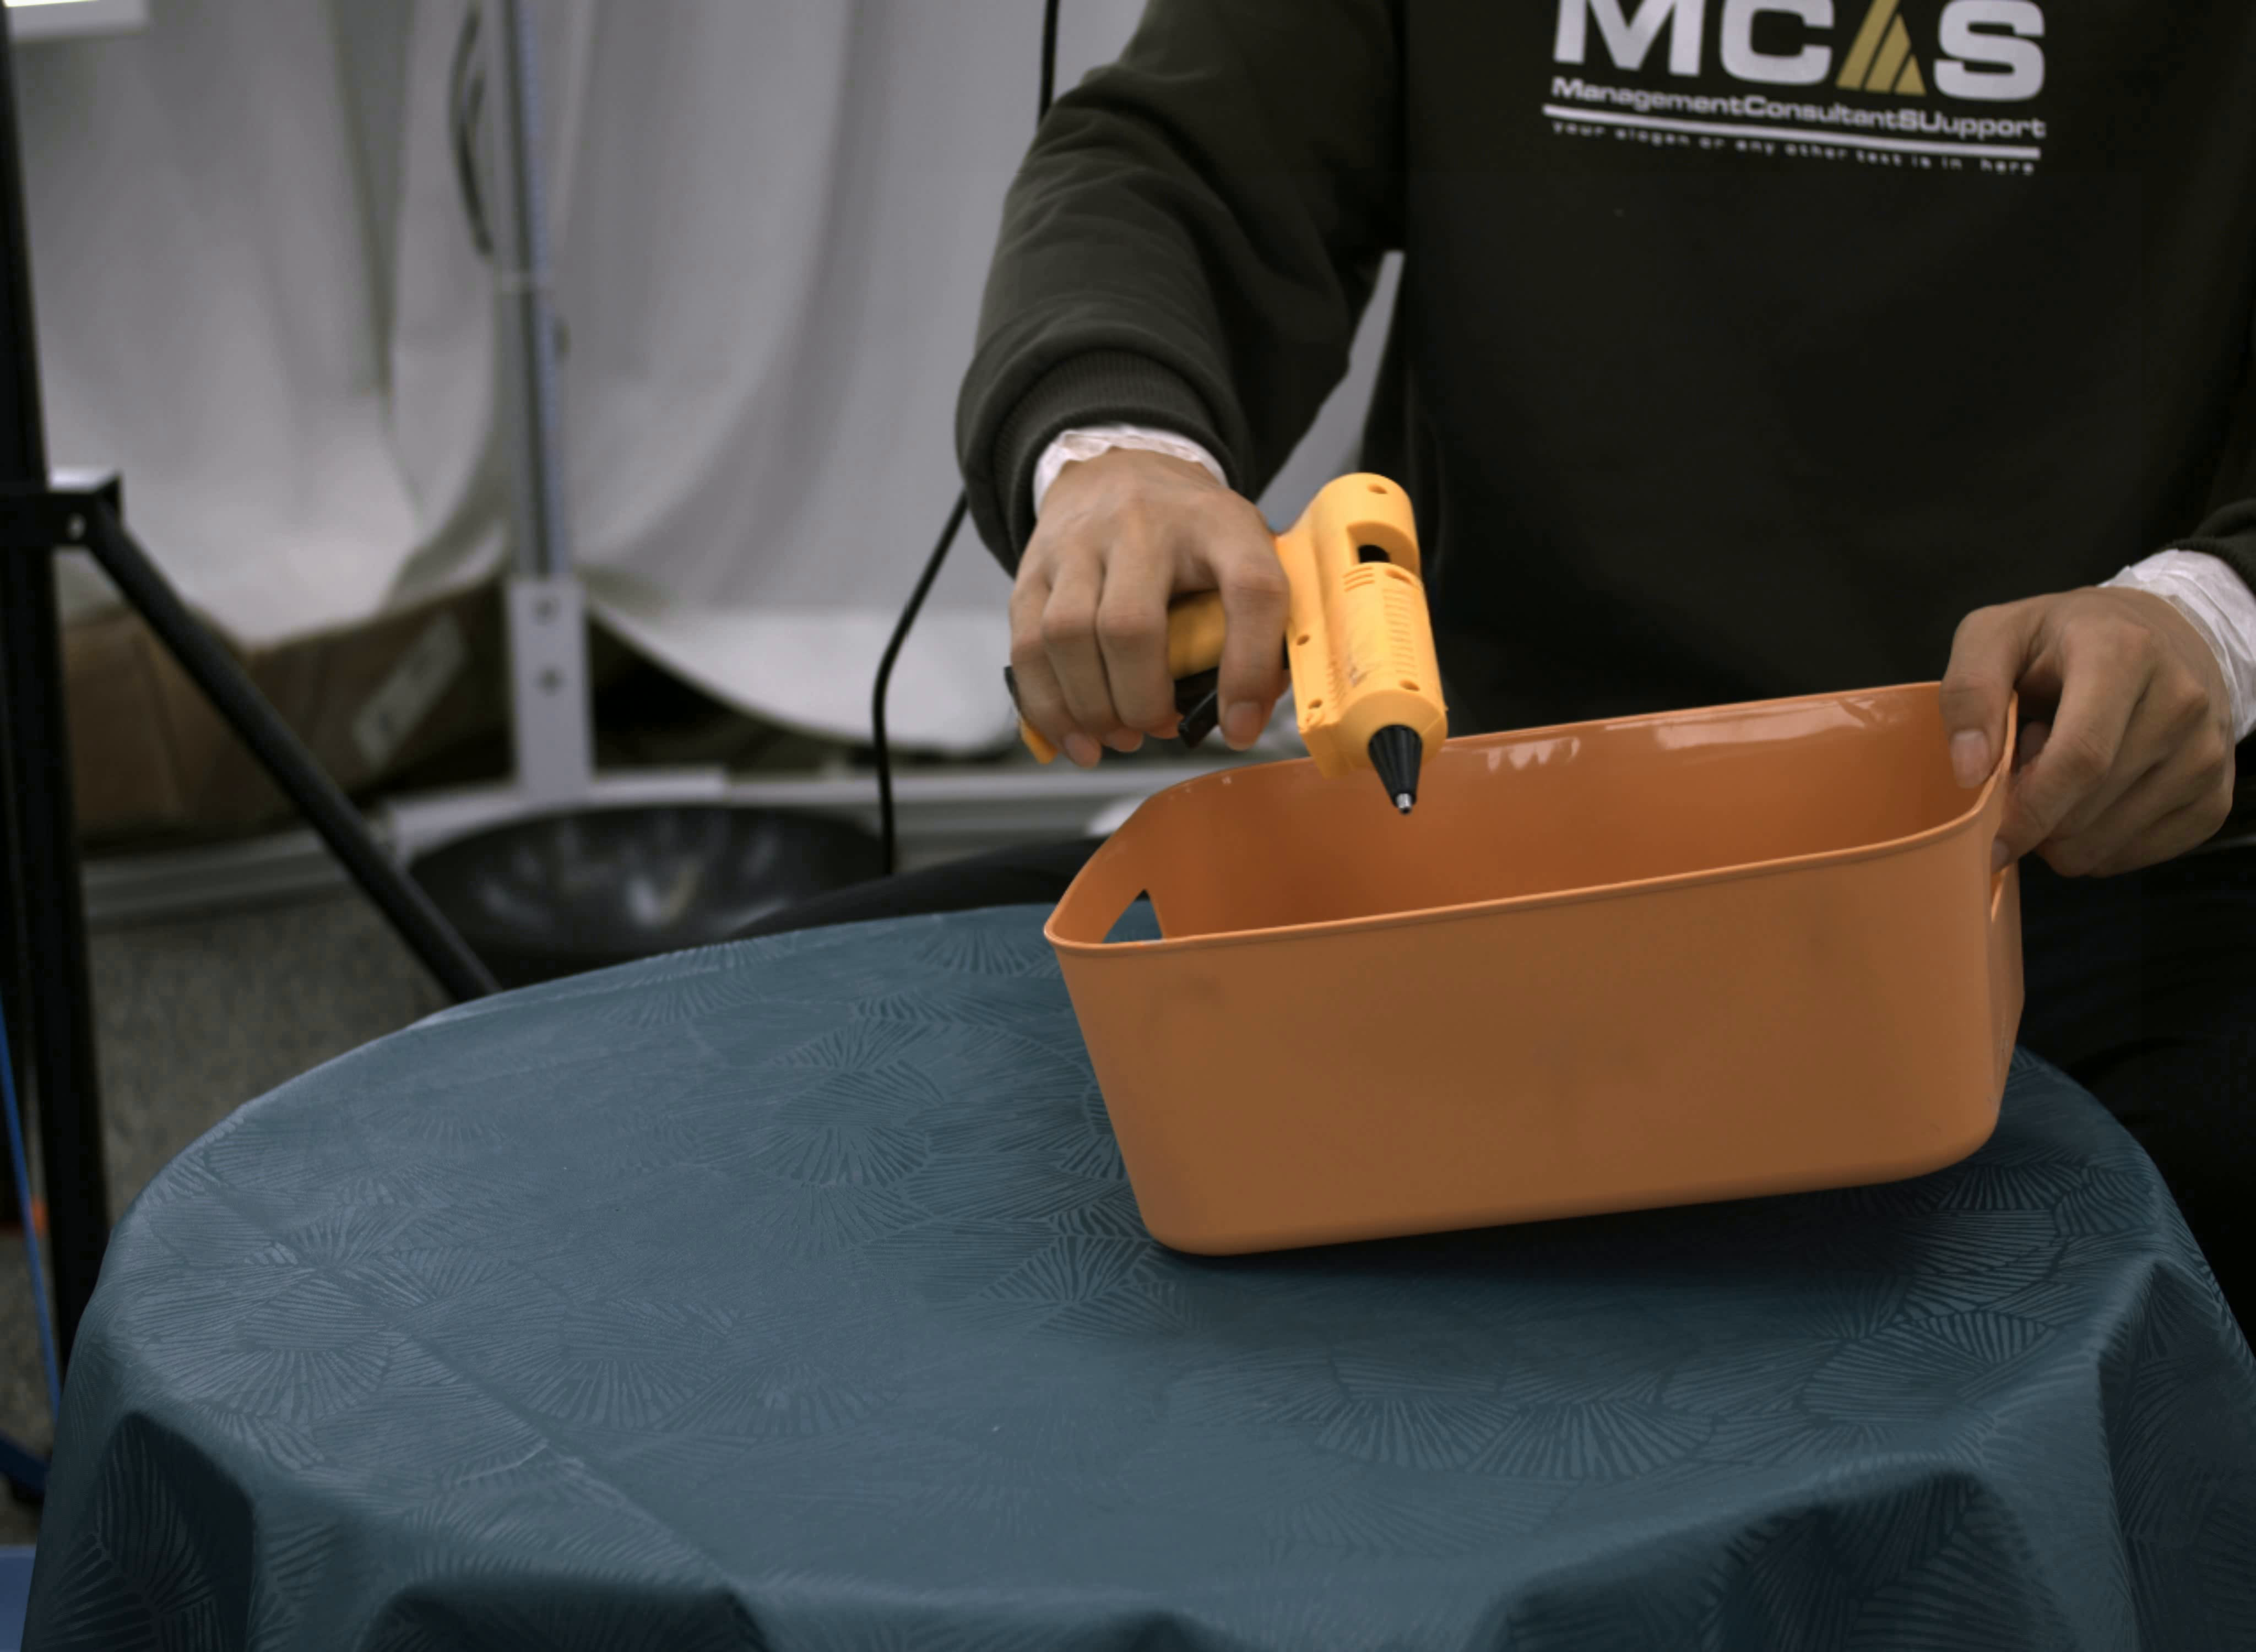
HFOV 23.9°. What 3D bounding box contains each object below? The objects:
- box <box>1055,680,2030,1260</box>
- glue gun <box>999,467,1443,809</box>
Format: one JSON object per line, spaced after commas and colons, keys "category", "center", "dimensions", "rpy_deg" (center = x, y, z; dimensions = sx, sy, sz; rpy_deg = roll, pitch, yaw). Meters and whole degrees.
{"category": "box", "center": [0.129, 0.042, 1.528], "dimensions": [0.275, 0.102, 0.198], "rpy_deg": [-8, 13, 15]}
{"category": "glue gun", "center": [0.031, -0.032, 1.518], "dimensions": [0.133, 0.030, 0.153], "rpy_deg": [-25, 34, 9]}
